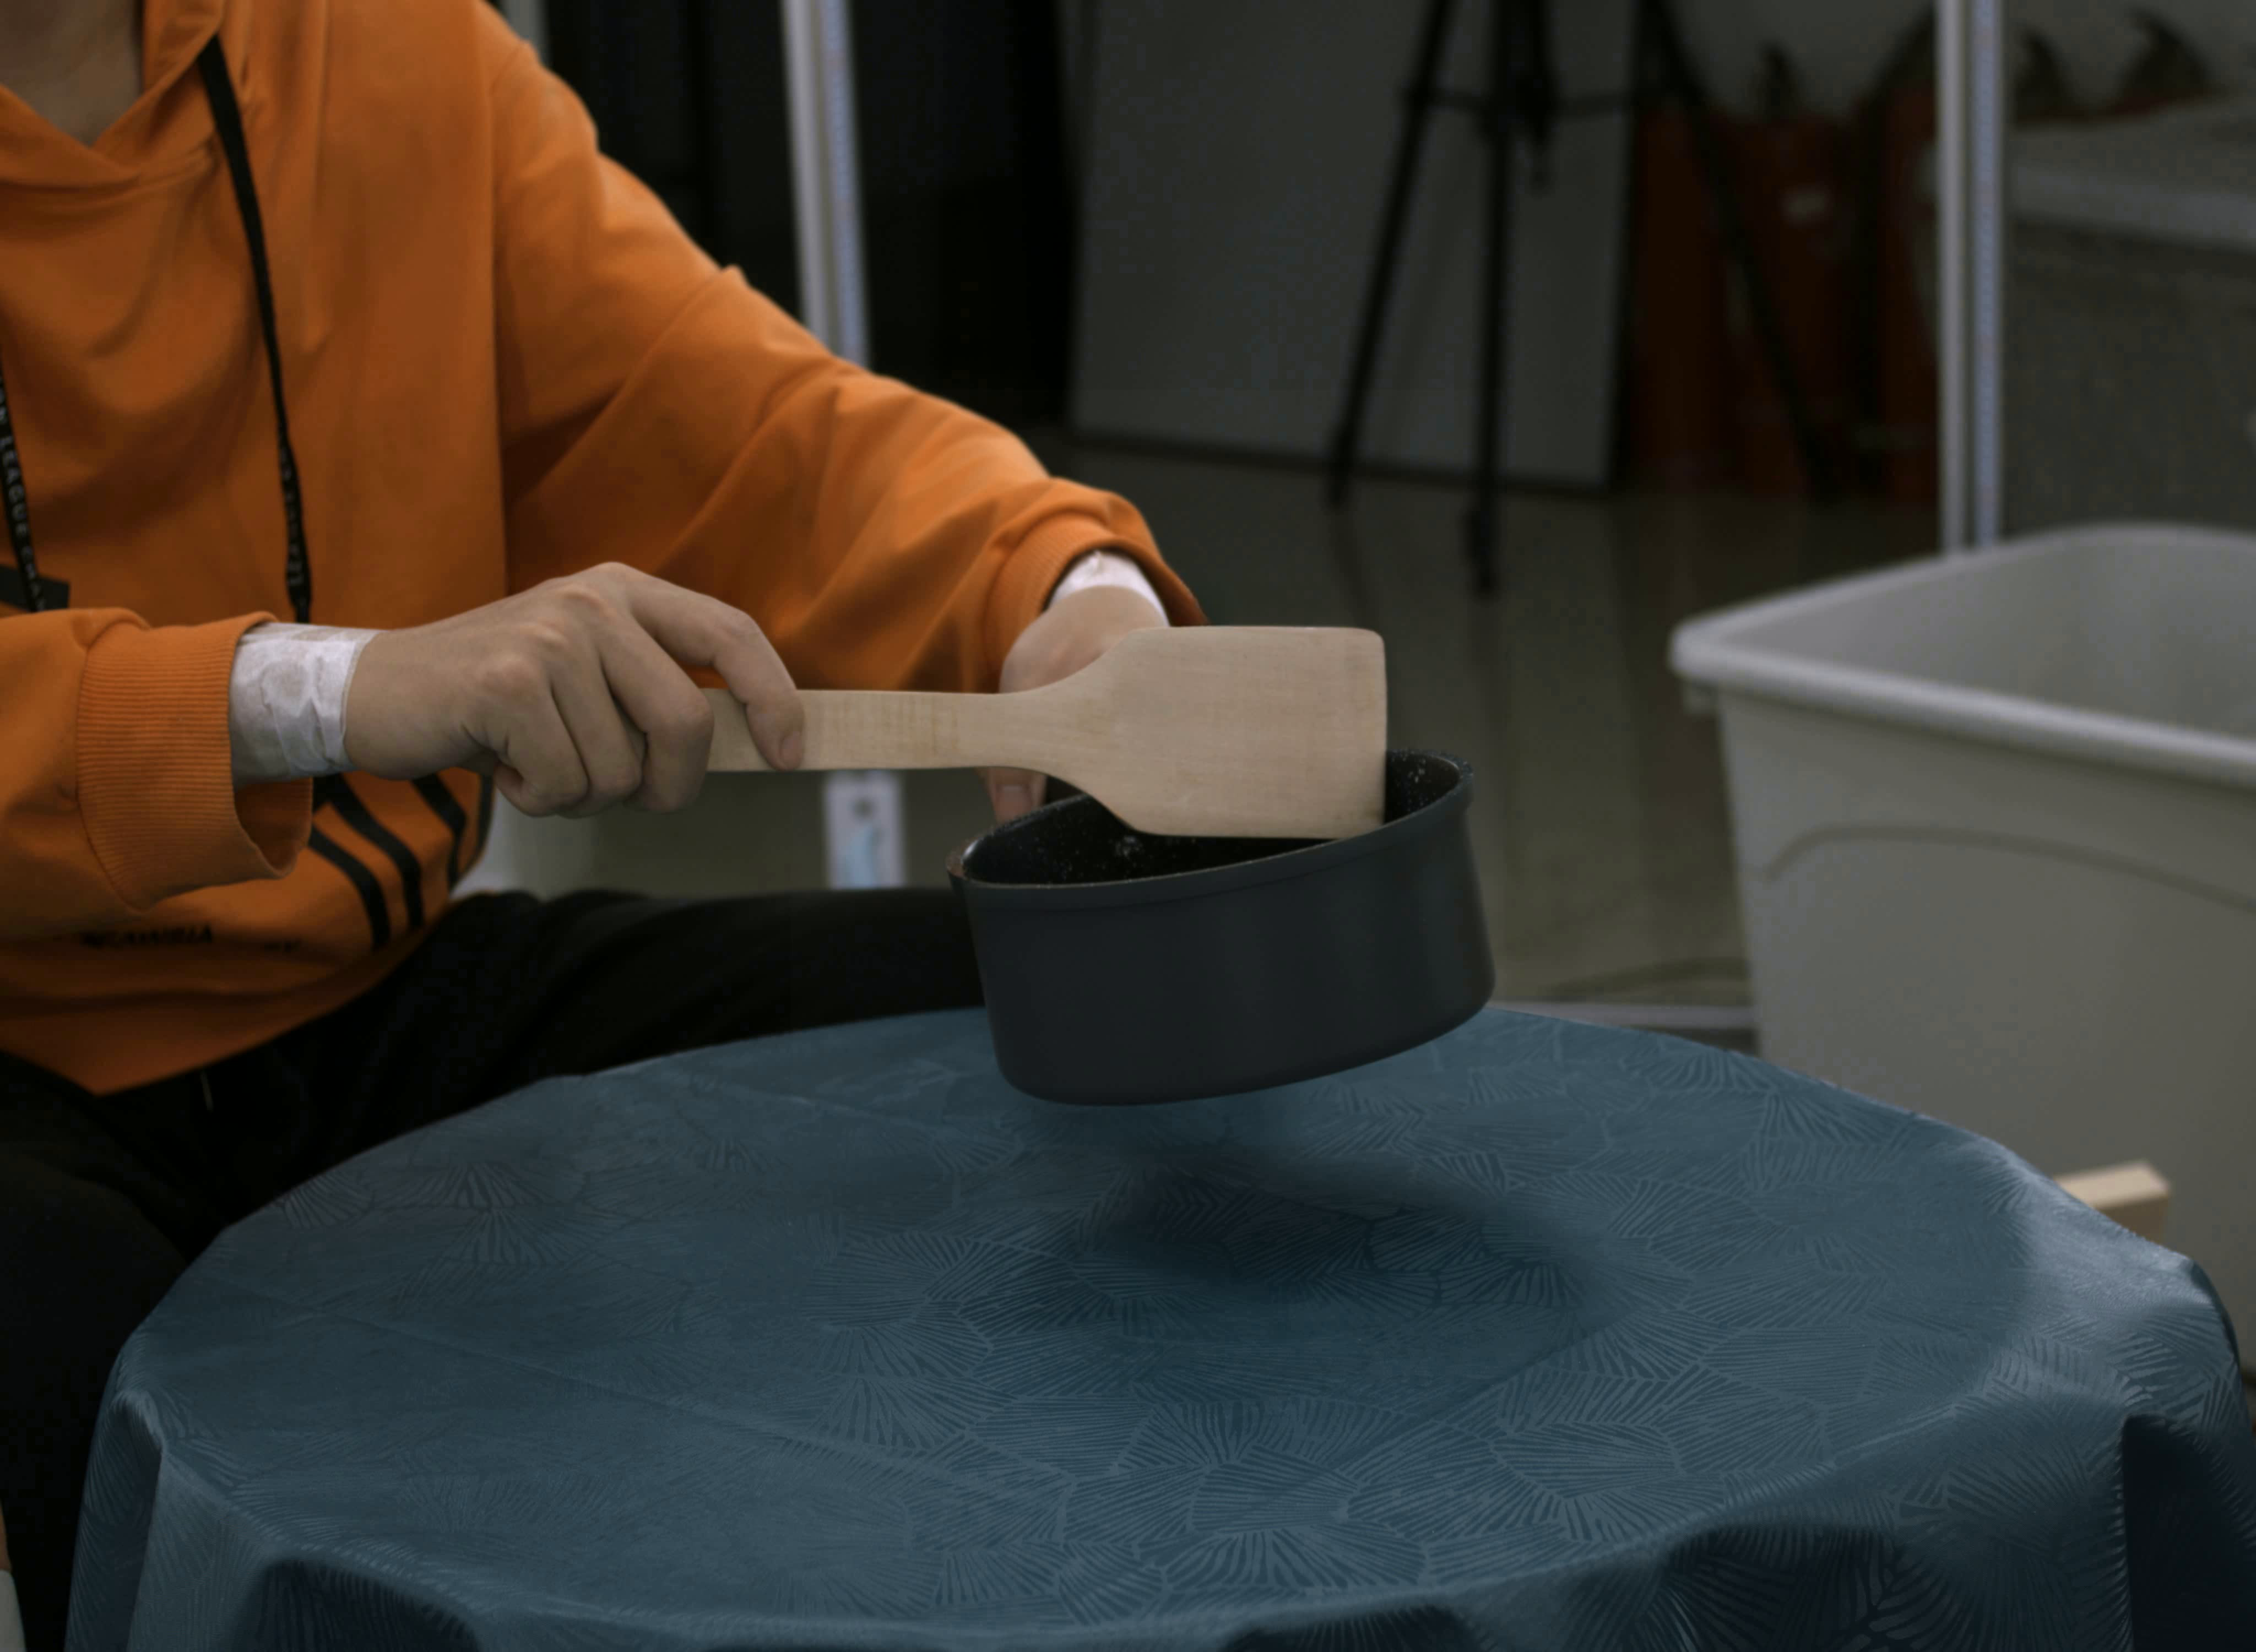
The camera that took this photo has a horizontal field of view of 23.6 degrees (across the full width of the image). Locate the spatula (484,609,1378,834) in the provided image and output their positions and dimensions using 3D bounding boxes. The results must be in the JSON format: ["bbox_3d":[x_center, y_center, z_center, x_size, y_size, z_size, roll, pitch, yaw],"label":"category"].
[{"bbox_3d":[-0.063,-0.033,1.747,0.289,0.073,0.010,0,1,-1],"label":"spatula"}]

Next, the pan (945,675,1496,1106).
[{"bbox_3d":[0.014,0.016,1.789,0.169,0.087,0.331,-12,12,-10],"label":"pan"}]
